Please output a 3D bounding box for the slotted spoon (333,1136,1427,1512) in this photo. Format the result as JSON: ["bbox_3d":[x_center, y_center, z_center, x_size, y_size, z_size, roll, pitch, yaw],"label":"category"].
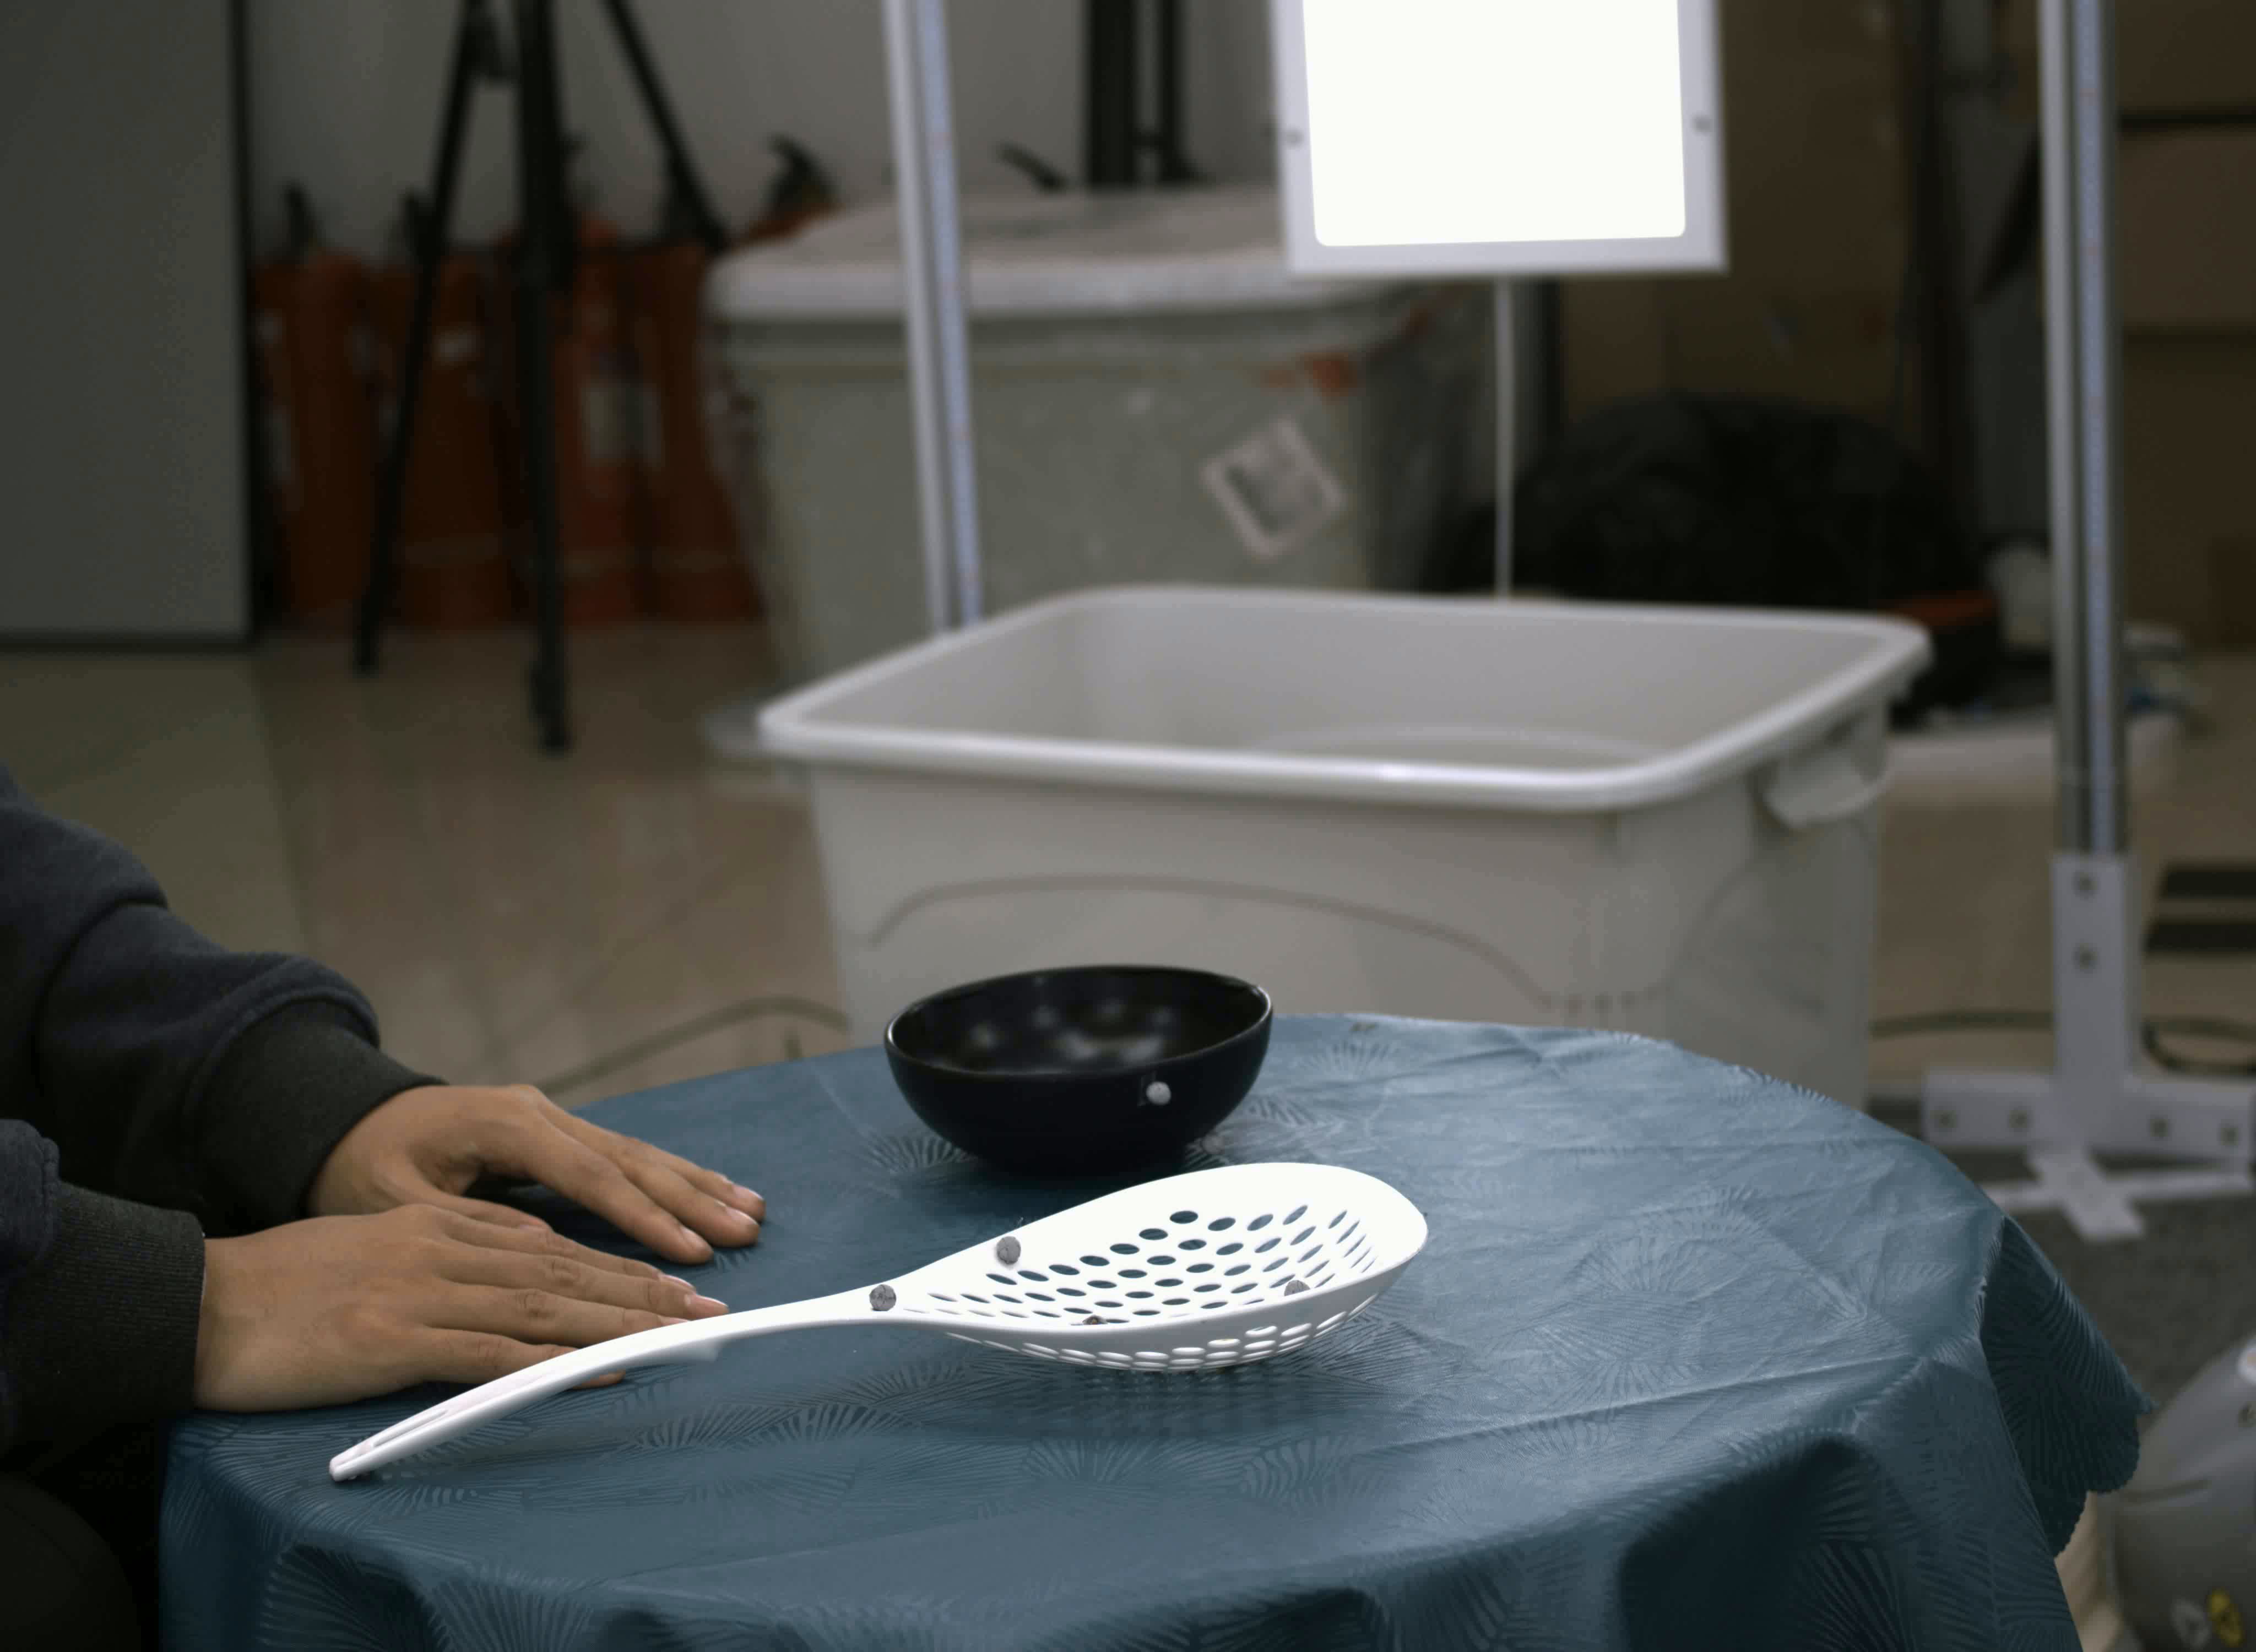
[{"bbox_3d":[-0.076,0.159,1.709,0.344,0.050,0.137,-8,17,-9],"label":"slotted spoon"}]
